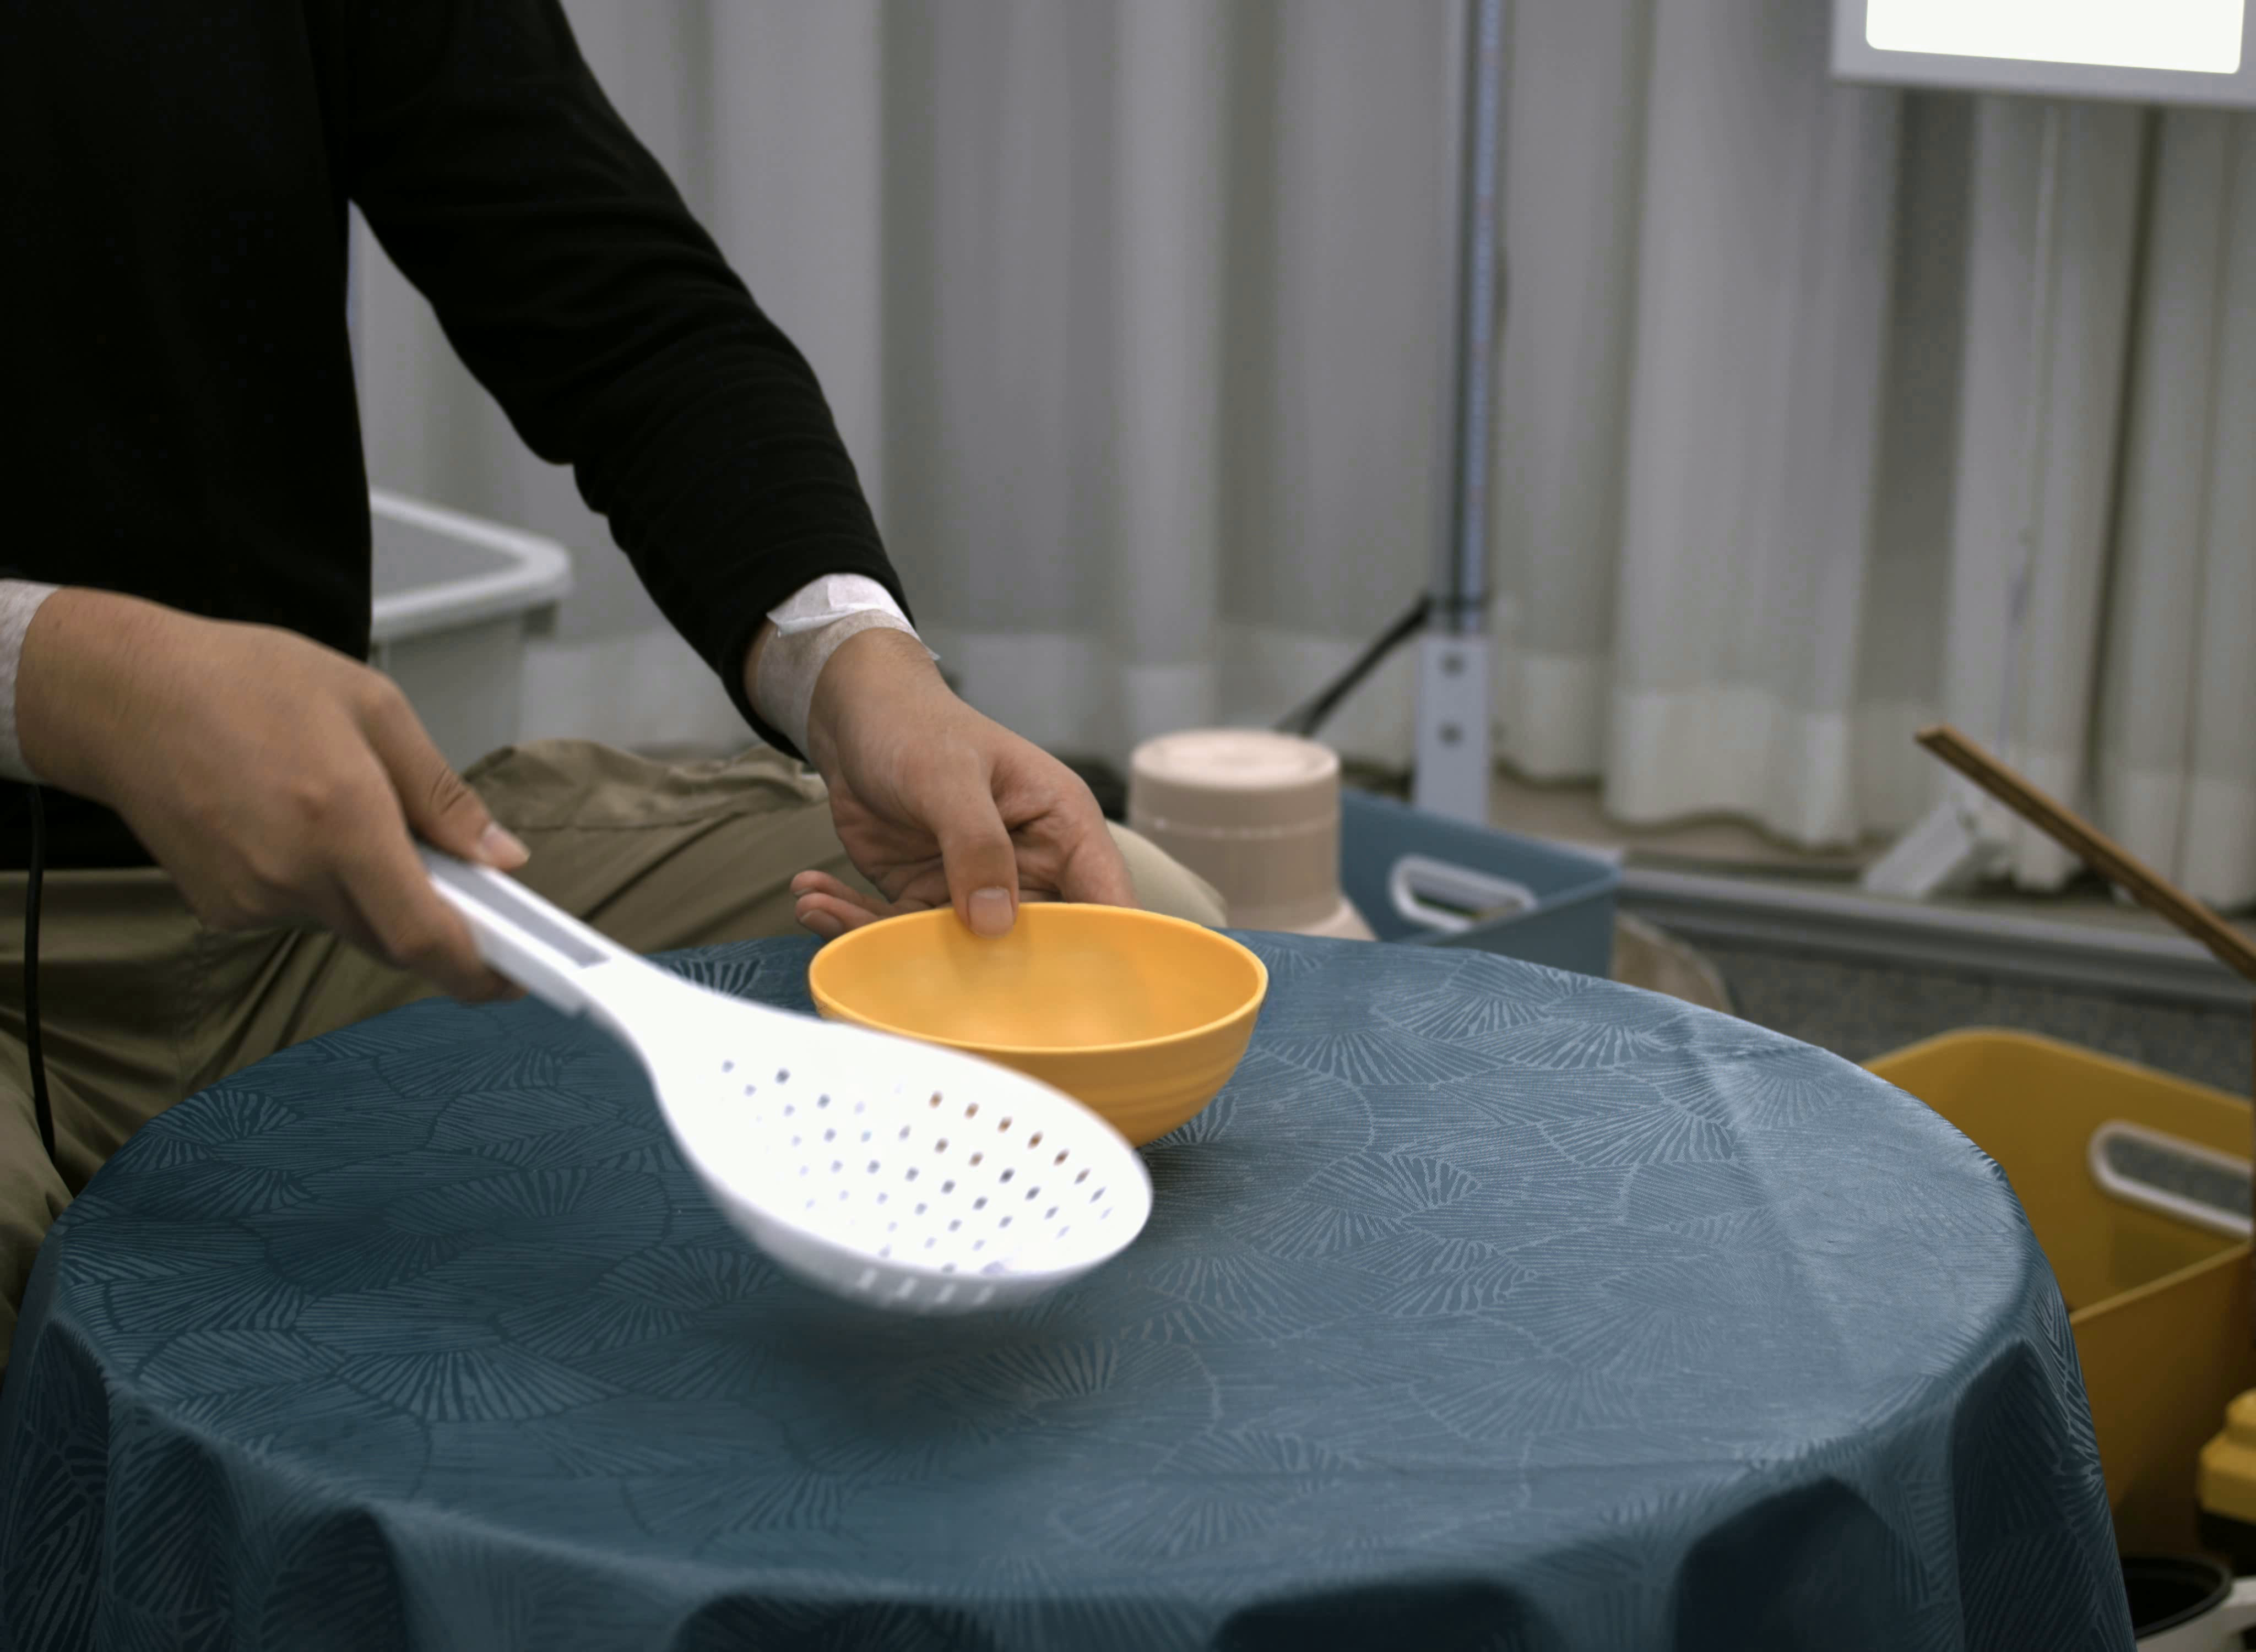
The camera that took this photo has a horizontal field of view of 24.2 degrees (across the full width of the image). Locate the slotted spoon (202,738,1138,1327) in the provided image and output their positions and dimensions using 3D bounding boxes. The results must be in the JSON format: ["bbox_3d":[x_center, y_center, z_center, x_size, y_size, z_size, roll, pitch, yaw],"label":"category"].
[{"bbox_3d":[-0.145,0.054,1.517,0.345,0.046,0.137,34,30,28],"label":"slotted spoon"}]

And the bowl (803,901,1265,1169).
[{"bbox_3d":[-0.030,0.074,1.650,0.145,0.060,0.144,3,17,-1],"label":"bowl"}]
